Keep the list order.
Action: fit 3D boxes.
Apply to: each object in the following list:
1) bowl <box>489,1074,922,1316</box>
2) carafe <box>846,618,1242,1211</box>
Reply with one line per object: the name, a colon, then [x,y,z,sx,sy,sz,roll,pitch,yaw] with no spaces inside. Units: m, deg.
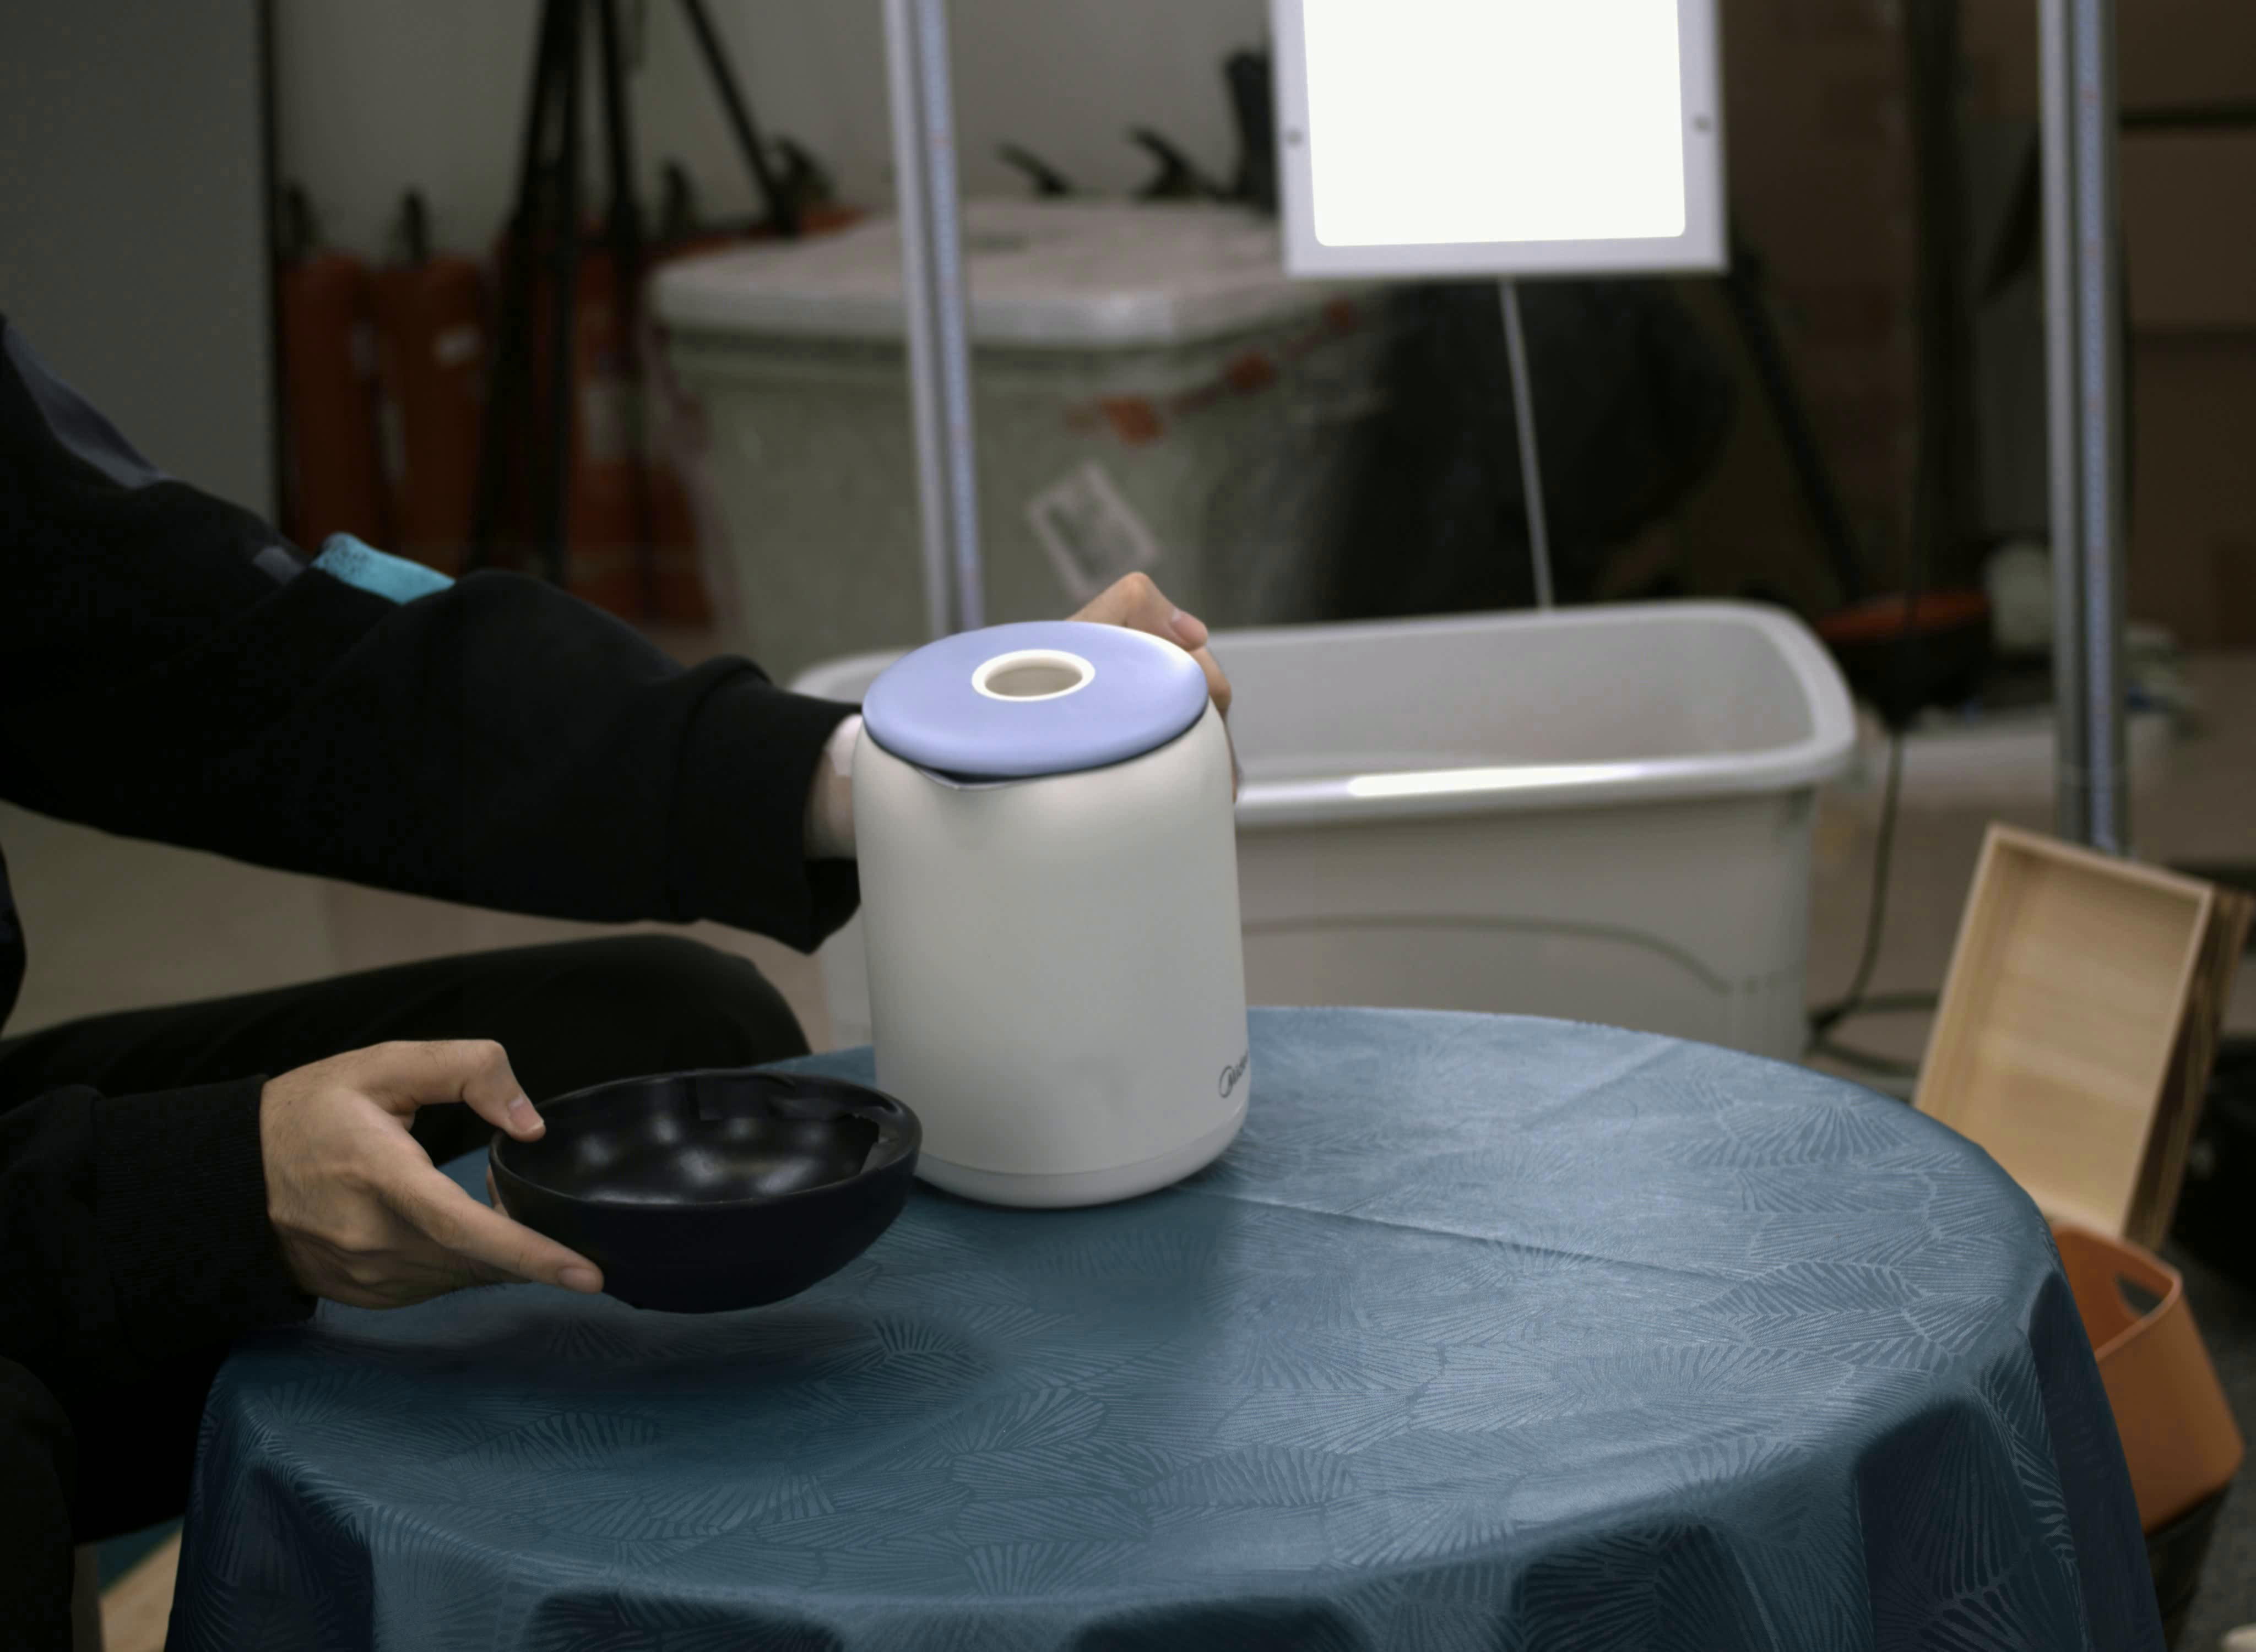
bowl: [-0.133,0.122,1.763,0.139,0.050,0.140,-4,14,0]
carafe: [-0.021,0.020,1.919,0.134,0.183,0.188,6,25,18]
